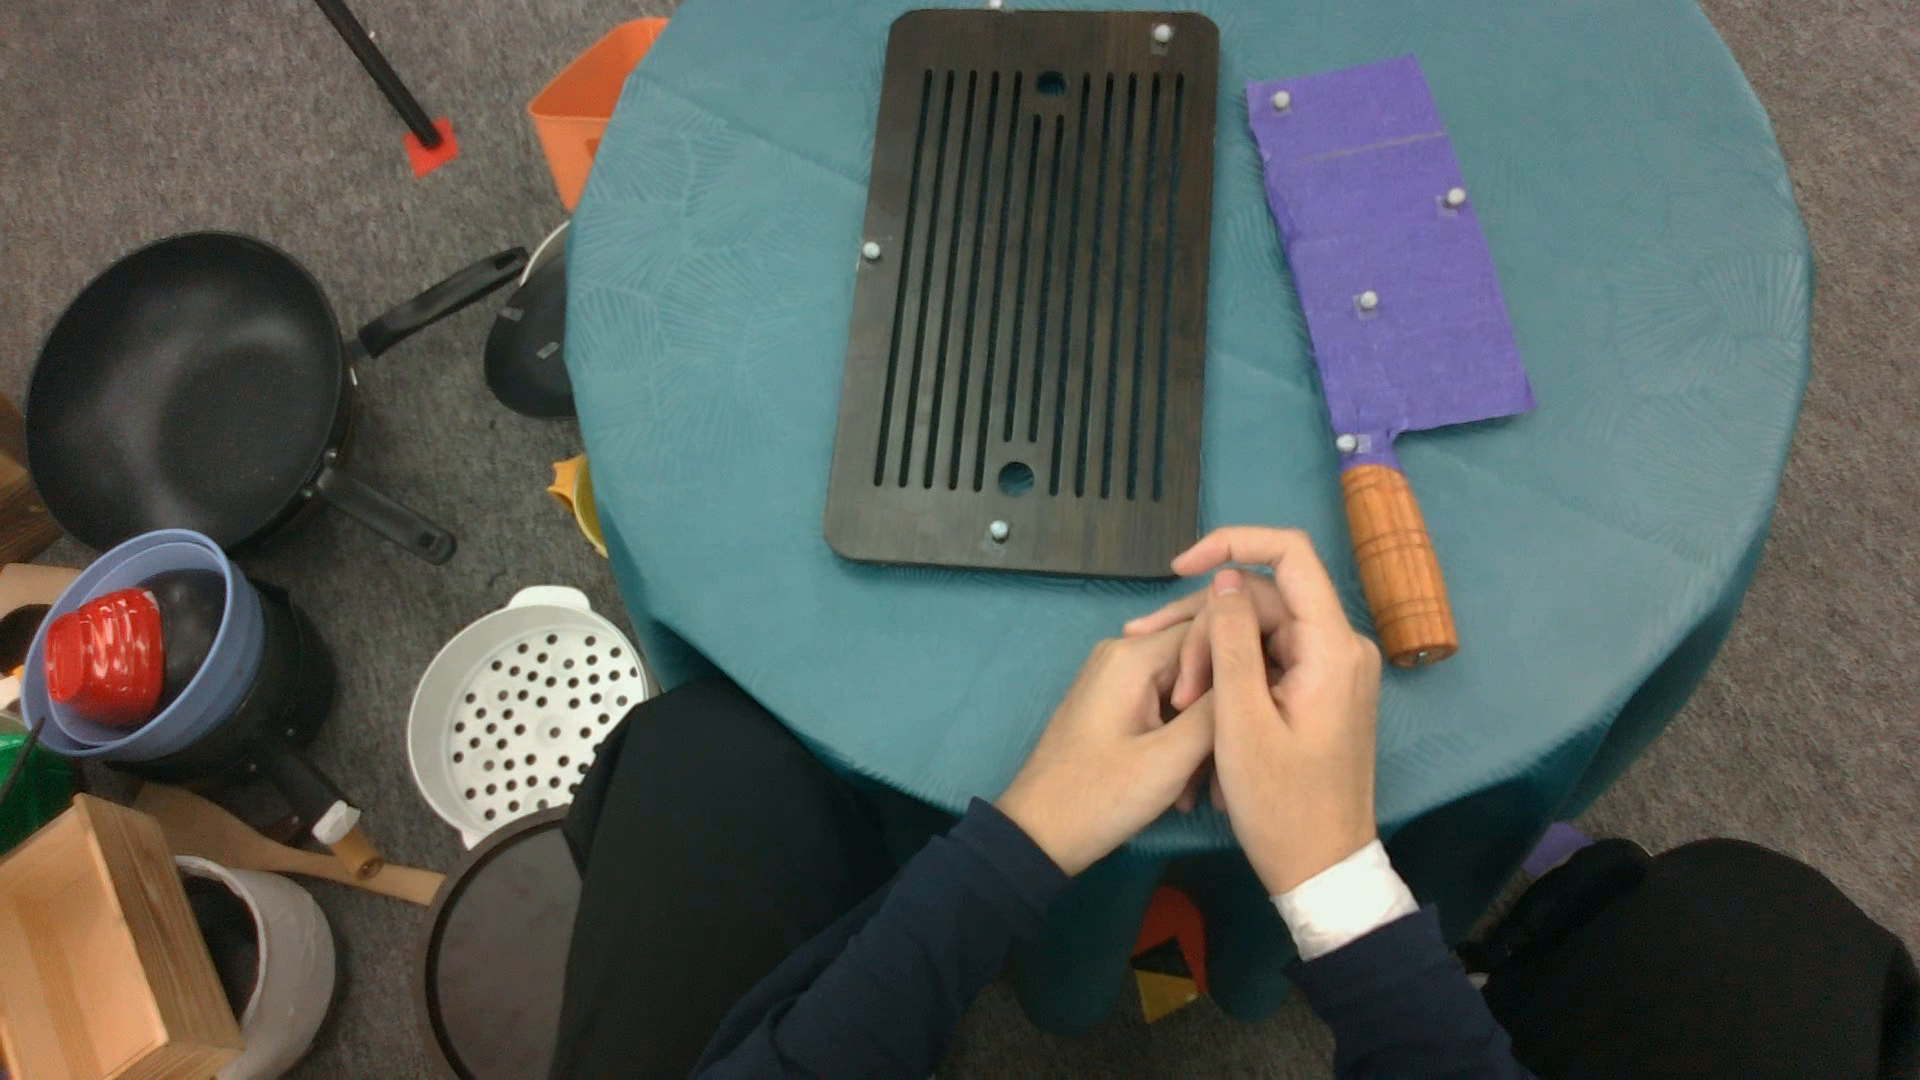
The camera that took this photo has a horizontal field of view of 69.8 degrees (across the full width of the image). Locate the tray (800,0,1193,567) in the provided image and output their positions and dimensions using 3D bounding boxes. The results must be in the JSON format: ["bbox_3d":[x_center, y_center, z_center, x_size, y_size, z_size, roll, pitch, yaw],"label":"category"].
[{"bbox_3d":[0.023,-0.134,0.667,0.170,0.018,0.307,3,71,6],"label":"tray"}]

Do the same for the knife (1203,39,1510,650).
[{"bbox_3d":[0.197,-0.107,0.638,0.104,0.032,0.316,-10,69,2],"label":"knife"}]
